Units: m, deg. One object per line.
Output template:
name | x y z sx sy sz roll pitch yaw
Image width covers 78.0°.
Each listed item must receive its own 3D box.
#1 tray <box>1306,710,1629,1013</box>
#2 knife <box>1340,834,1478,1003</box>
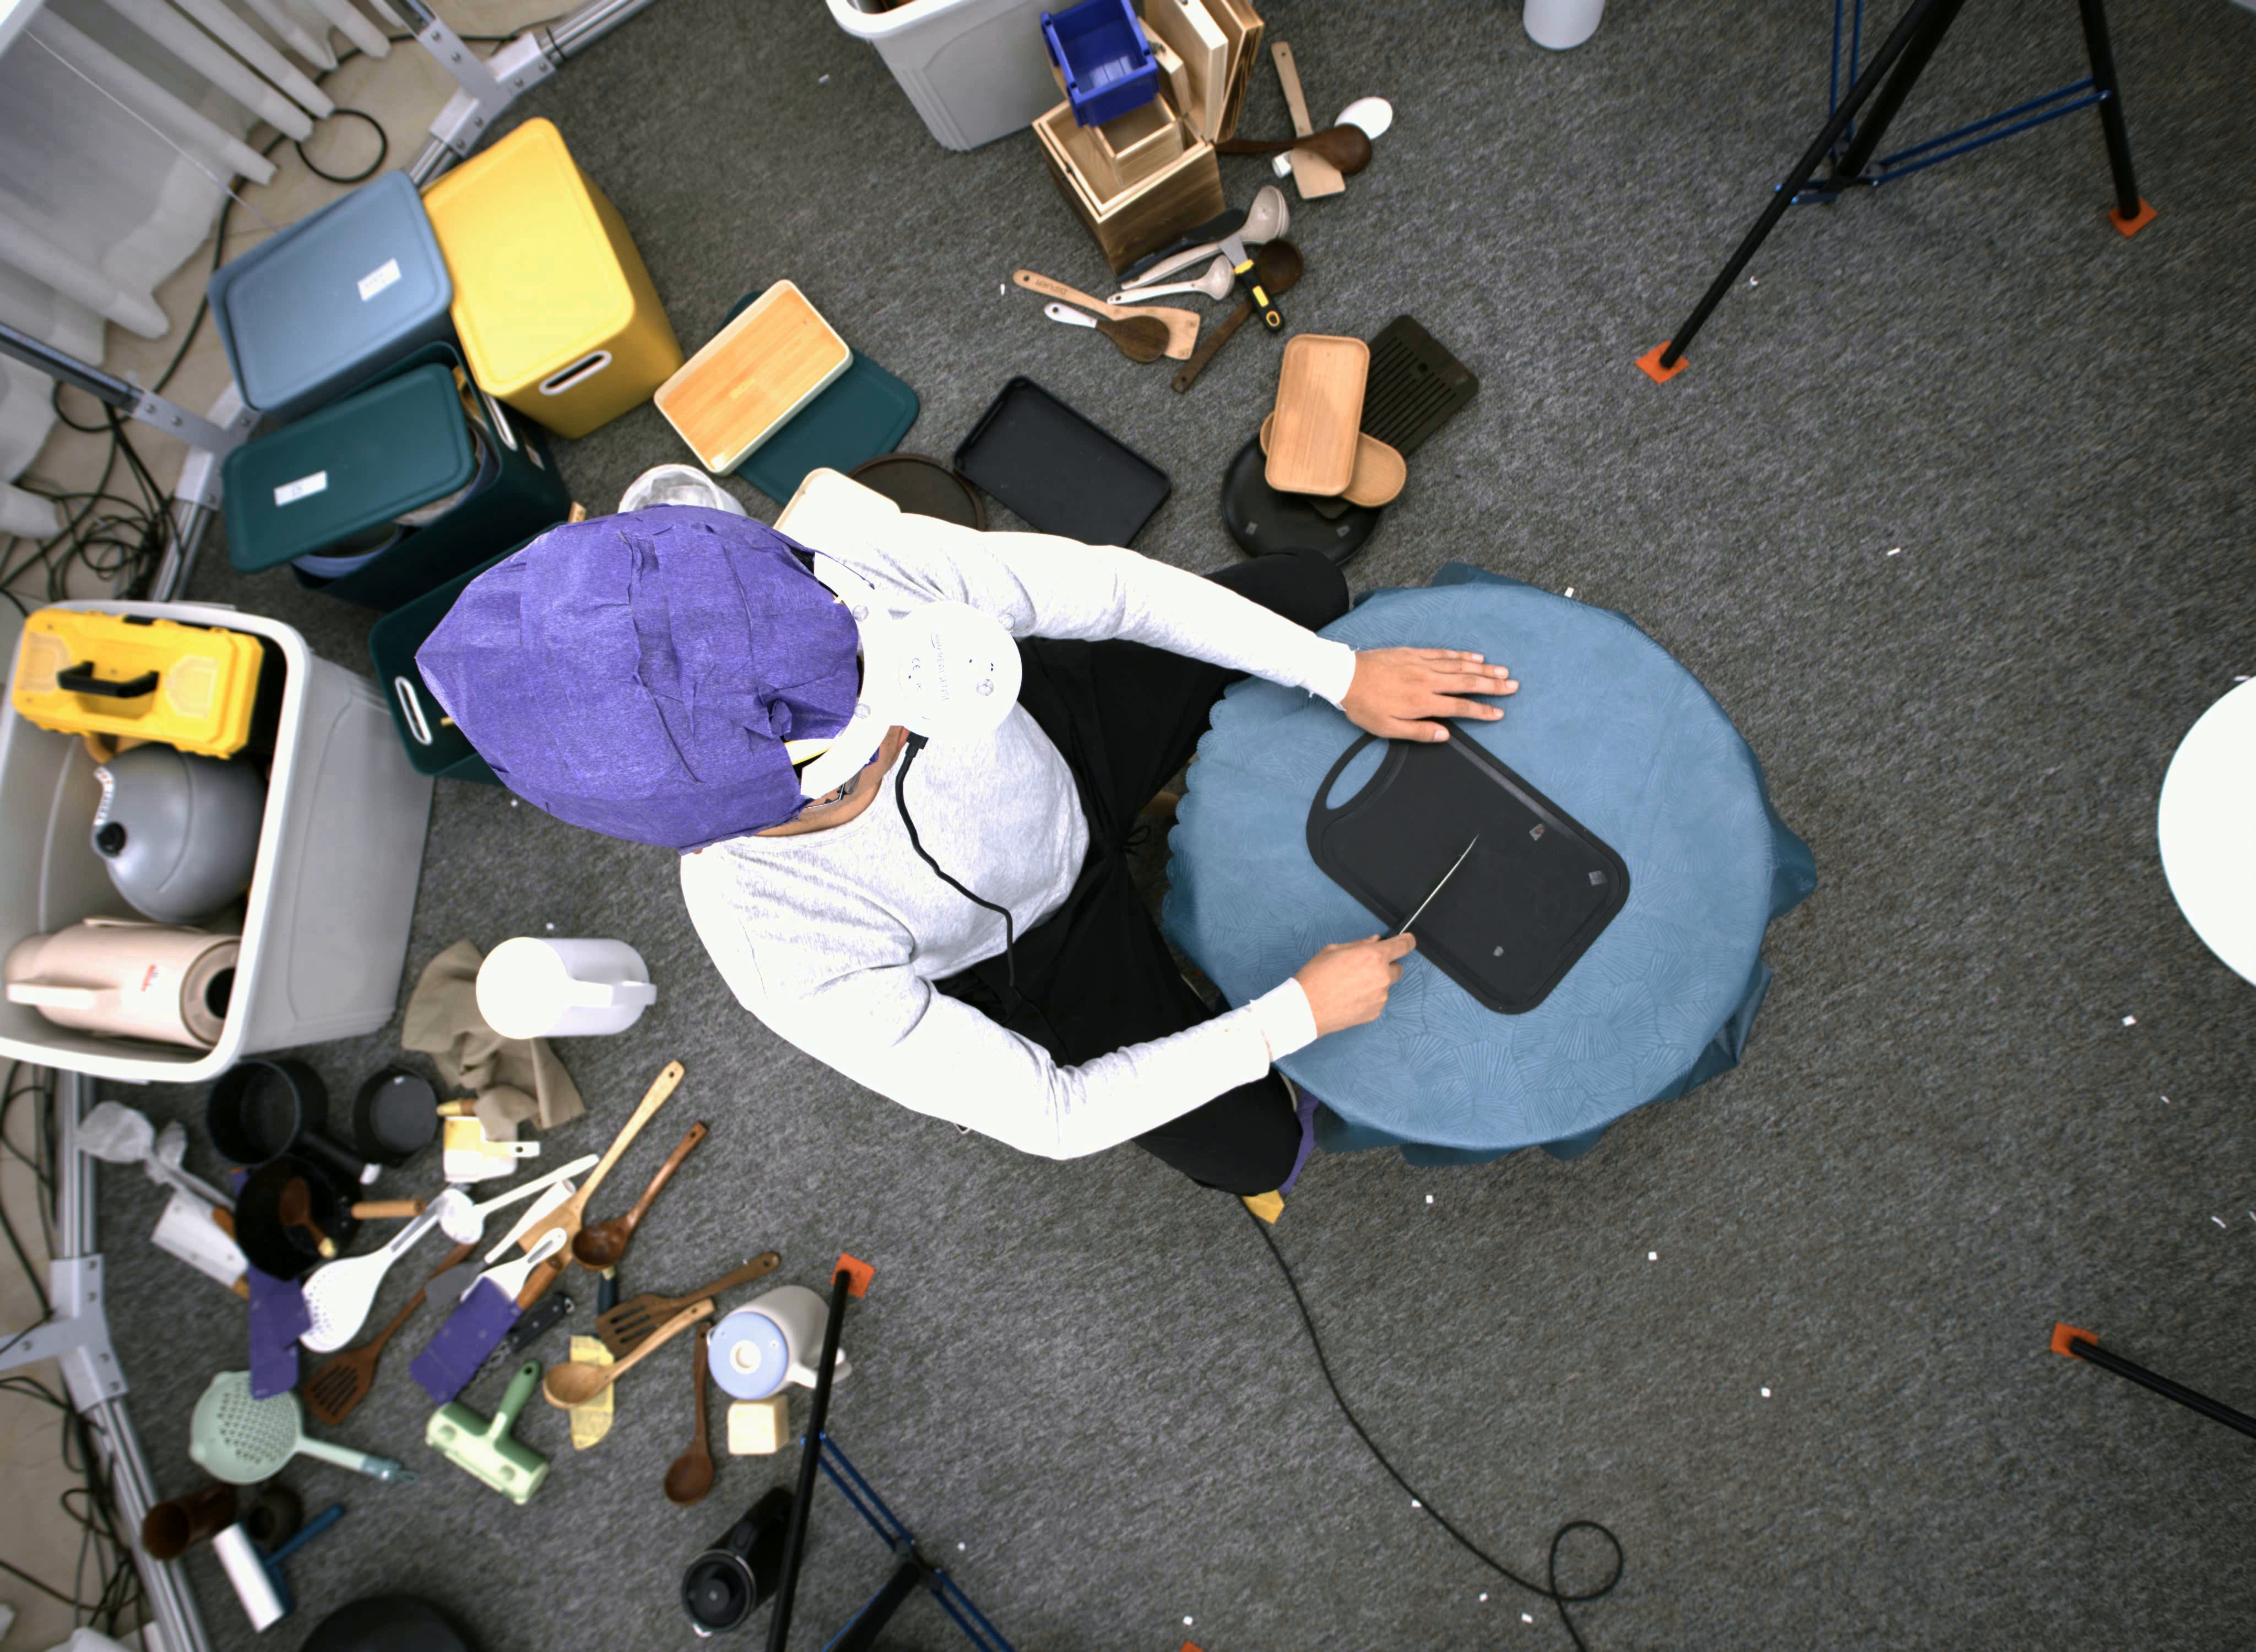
tray | 0.346 0.028 1.445 0.324 0.010 0.212 41 94 10
knife | 0.292 0.089 1.411 0.016 0.025 0.235 43 74 -2
